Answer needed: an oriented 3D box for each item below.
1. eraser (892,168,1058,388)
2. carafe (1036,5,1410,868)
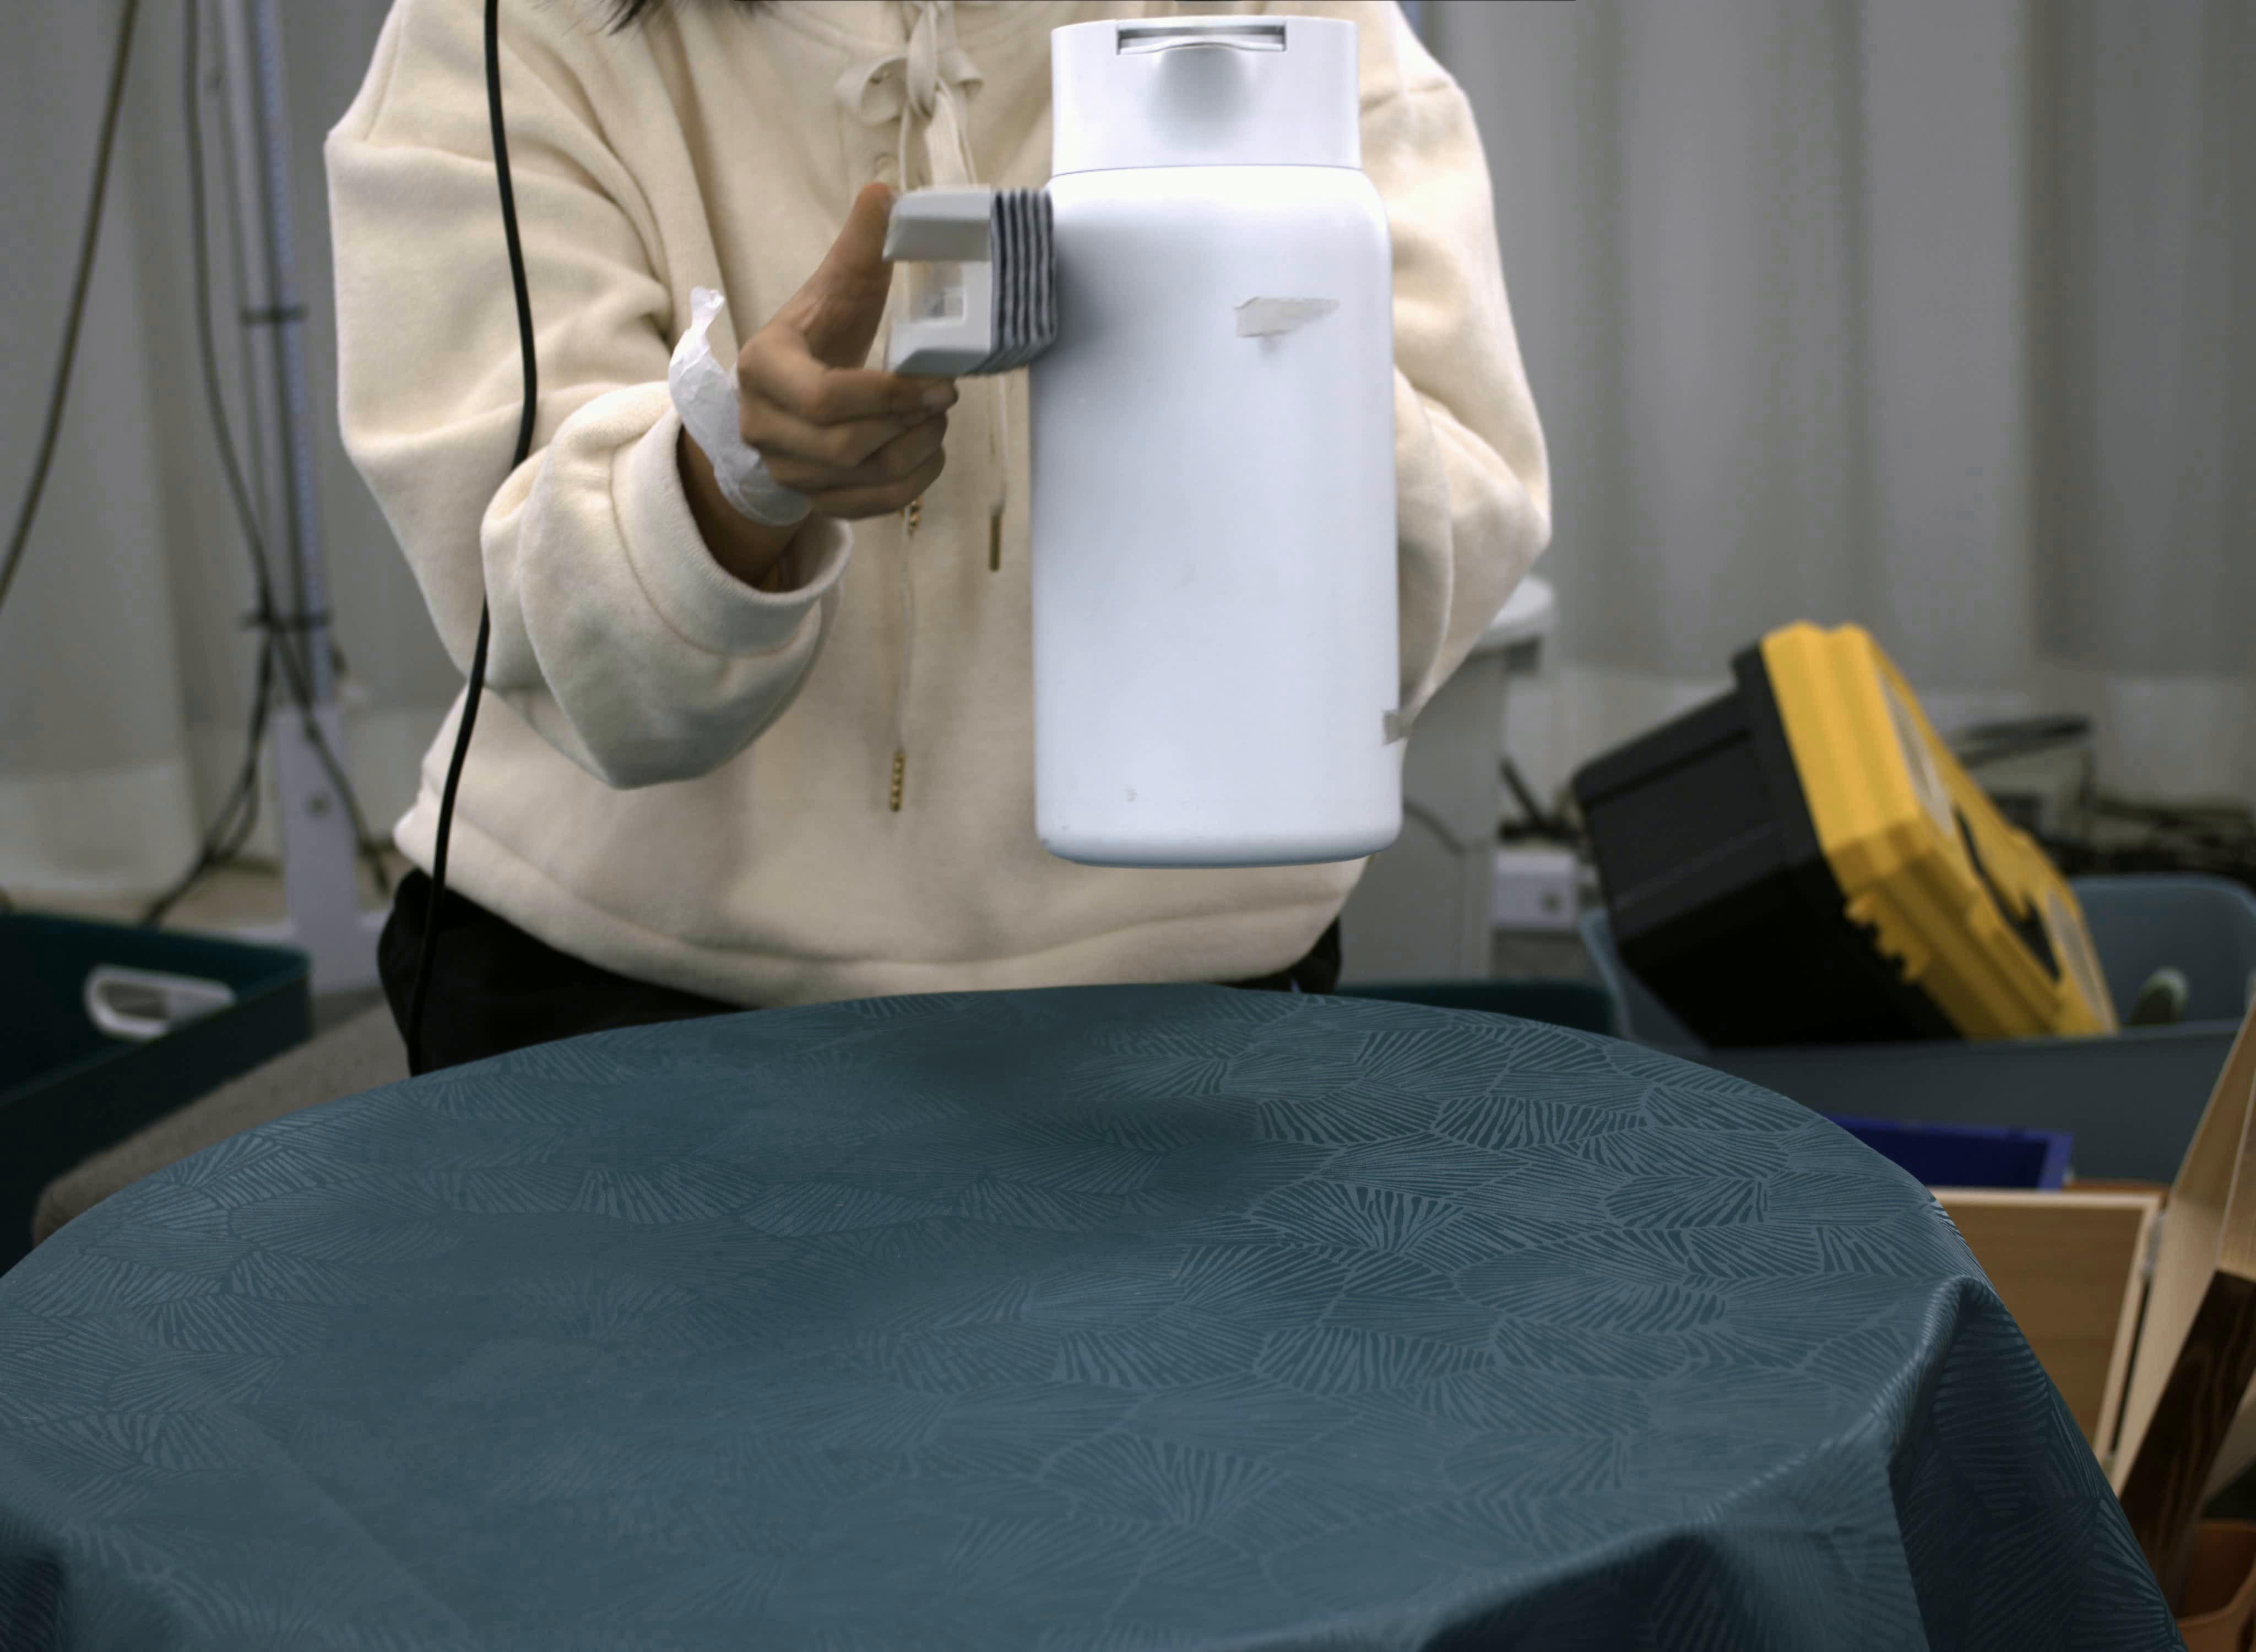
[{"bbox_3d":[-0.049,-0.170,1.709,0.046,0.050,0.134,-4,-3,-6],"label":"eraser"},{"bbox_3d":[0.029,-0.124,1.766,0.123,0.269,0.173,-3,2,2],"label":"carafe"}]
